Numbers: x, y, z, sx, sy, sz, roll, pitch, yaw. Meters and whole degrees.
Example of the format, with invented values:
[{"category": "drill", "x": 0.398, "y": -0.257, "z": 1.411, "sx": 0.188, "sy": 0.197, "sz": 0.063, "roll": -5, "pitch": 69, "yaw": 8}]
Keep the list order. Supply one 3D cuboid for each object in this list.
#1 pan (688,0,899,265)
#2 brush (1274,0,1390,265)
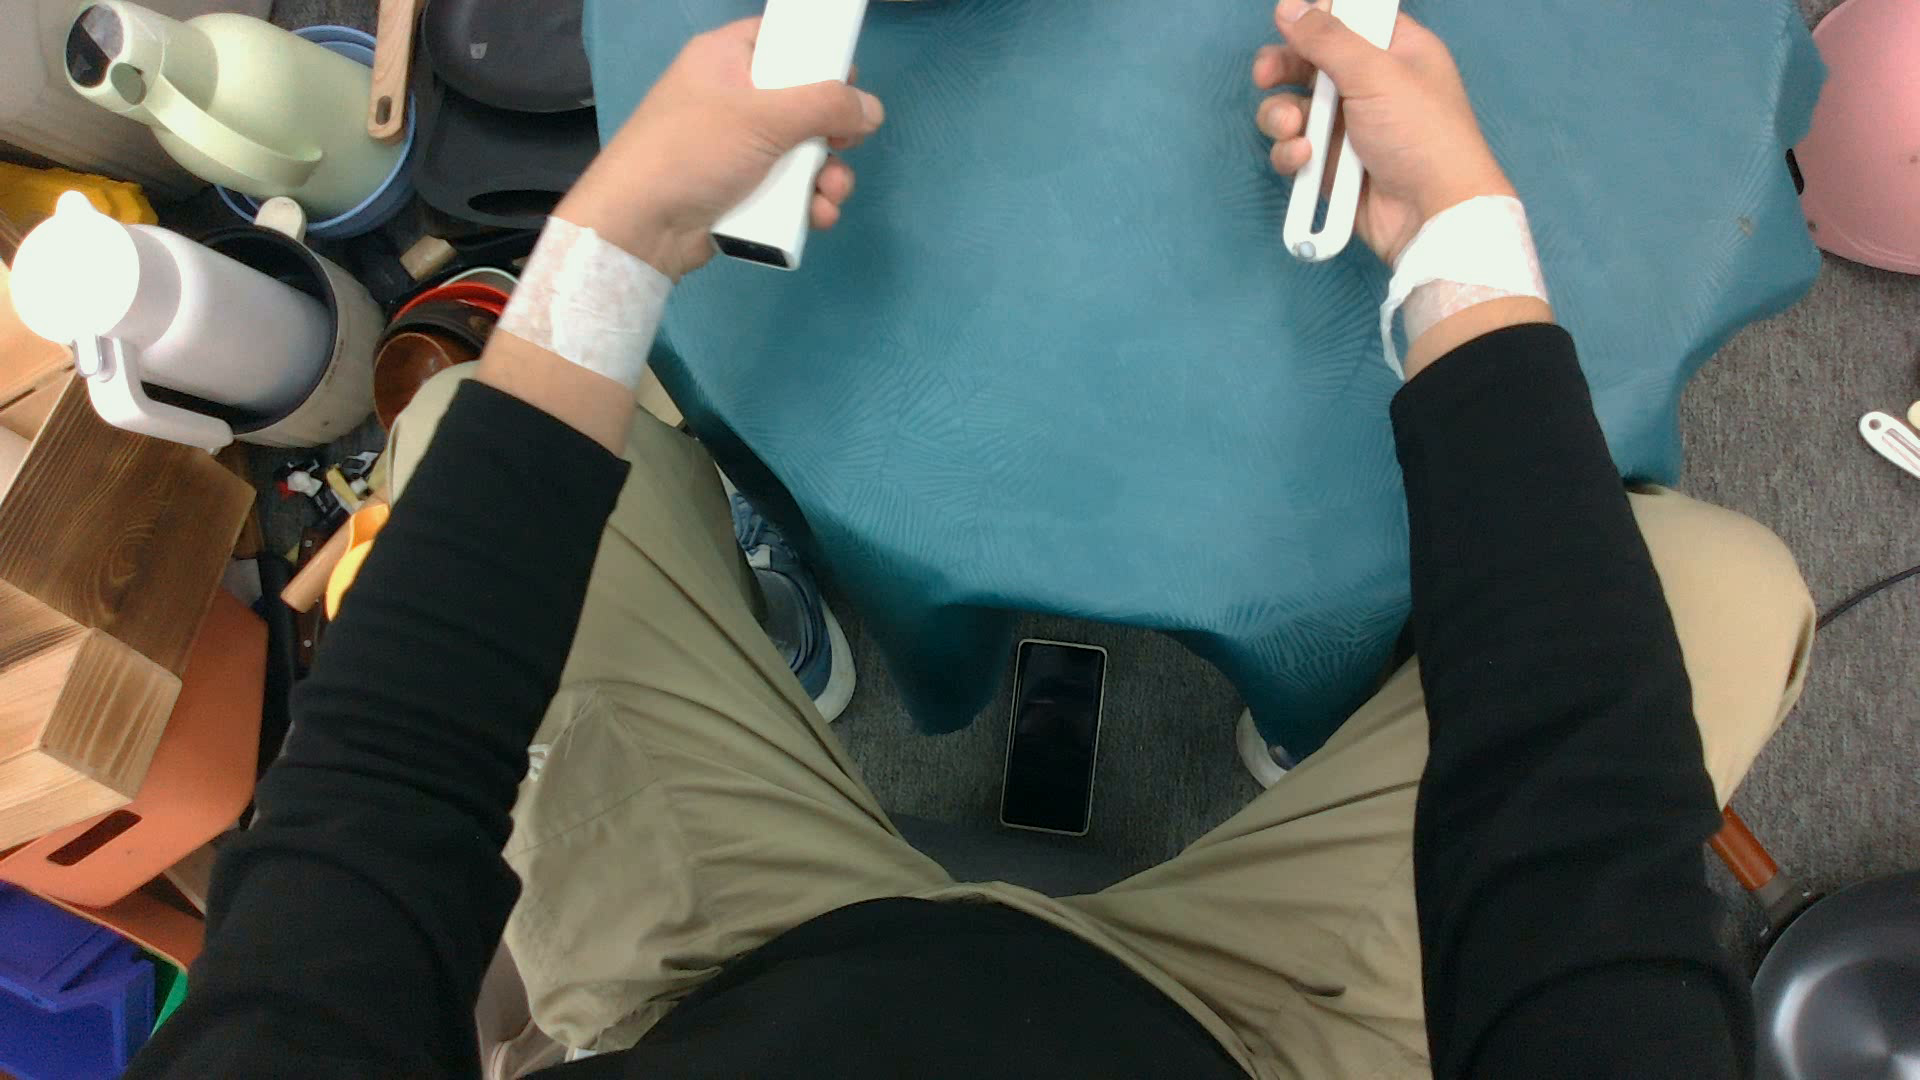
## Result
[{"category": "pan", "x": -0.054, "y": -0.292, "z": 0.657, "sx": 0.201, "sy": 0.102, "sz": 0.355, "roll": 13, "pitch": 82, "yaw": 3}, {"category": "brush", "x": 0.184, "y": -0.257, "z": 0.640, "sx": 0.068, "sy": 0.056, "sz": 0.267, "roll": 9, "pitch": 73, "yaw": 30}]
